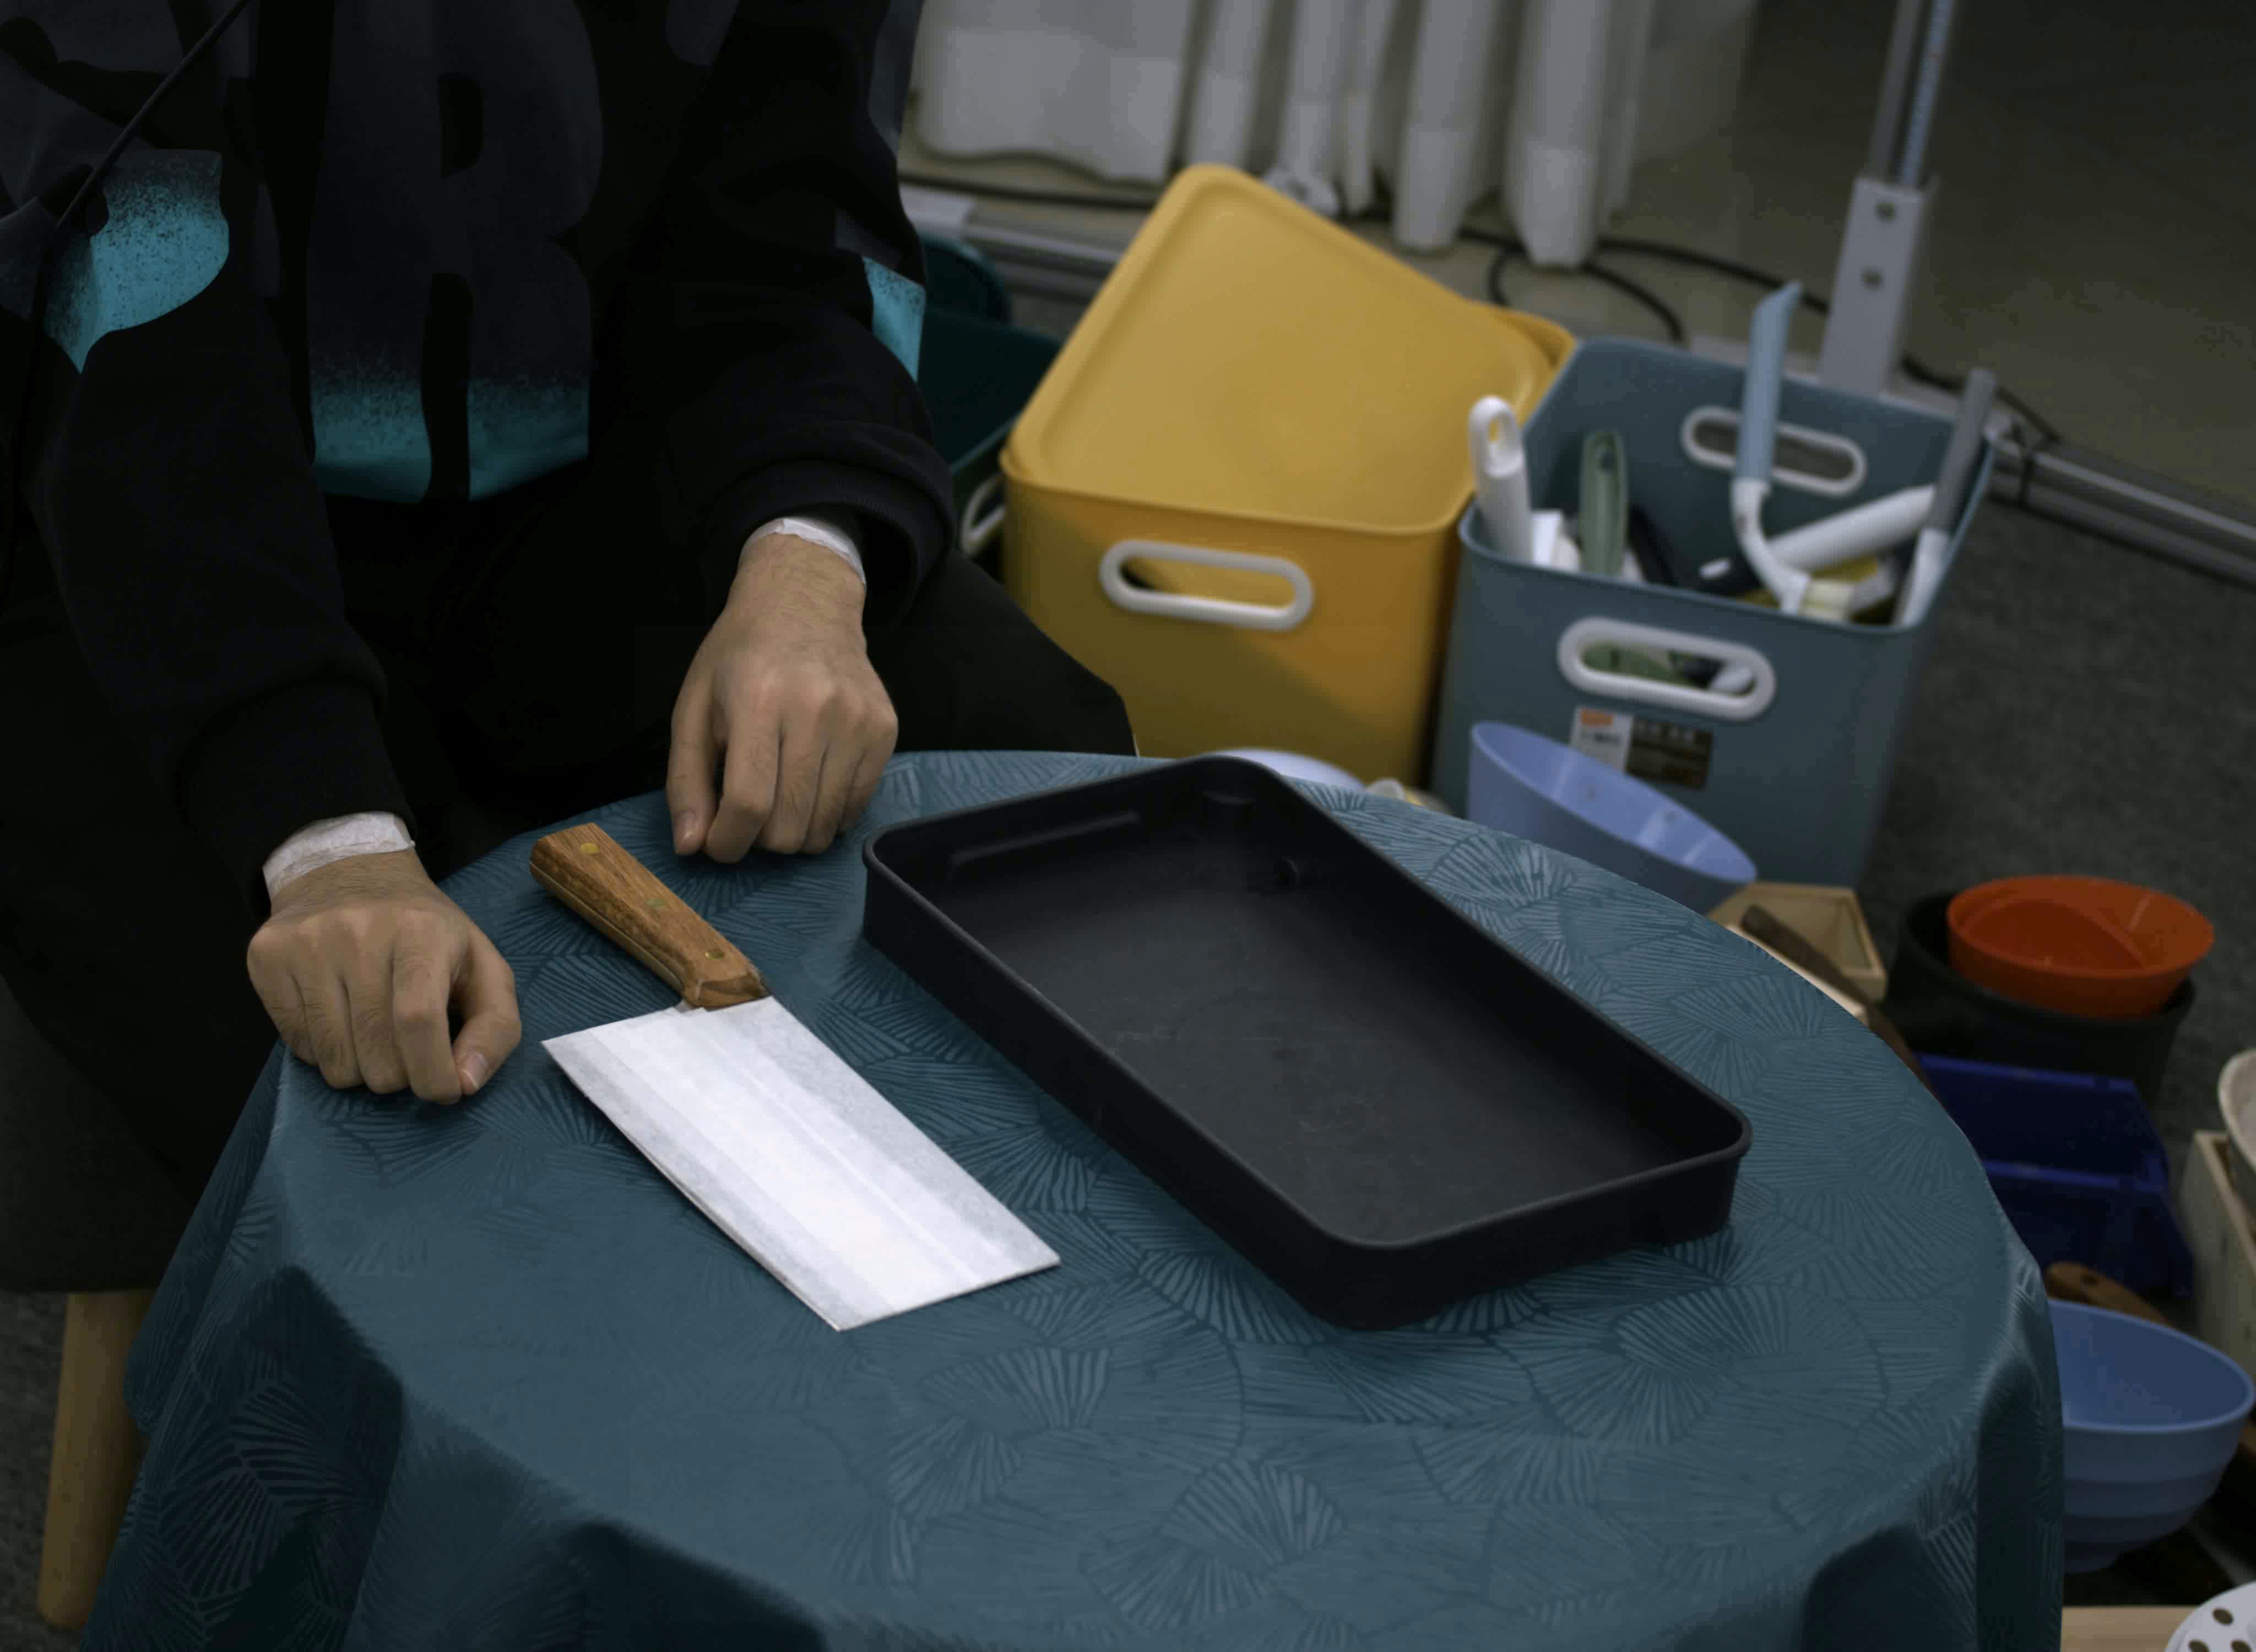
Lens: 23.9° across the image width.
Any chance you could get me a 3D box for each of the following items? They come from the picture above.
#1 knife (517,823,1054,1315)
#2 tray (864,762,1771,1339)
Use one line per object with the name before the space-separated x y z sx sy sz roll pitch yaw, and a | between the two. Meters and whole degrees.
knife | -0.144 0.083 1.834 0.092 0.021 0.308 -15 36 -33
tray | 0.061 0.072 1.877 0.183 0.037 0.321 -14 33 -34
